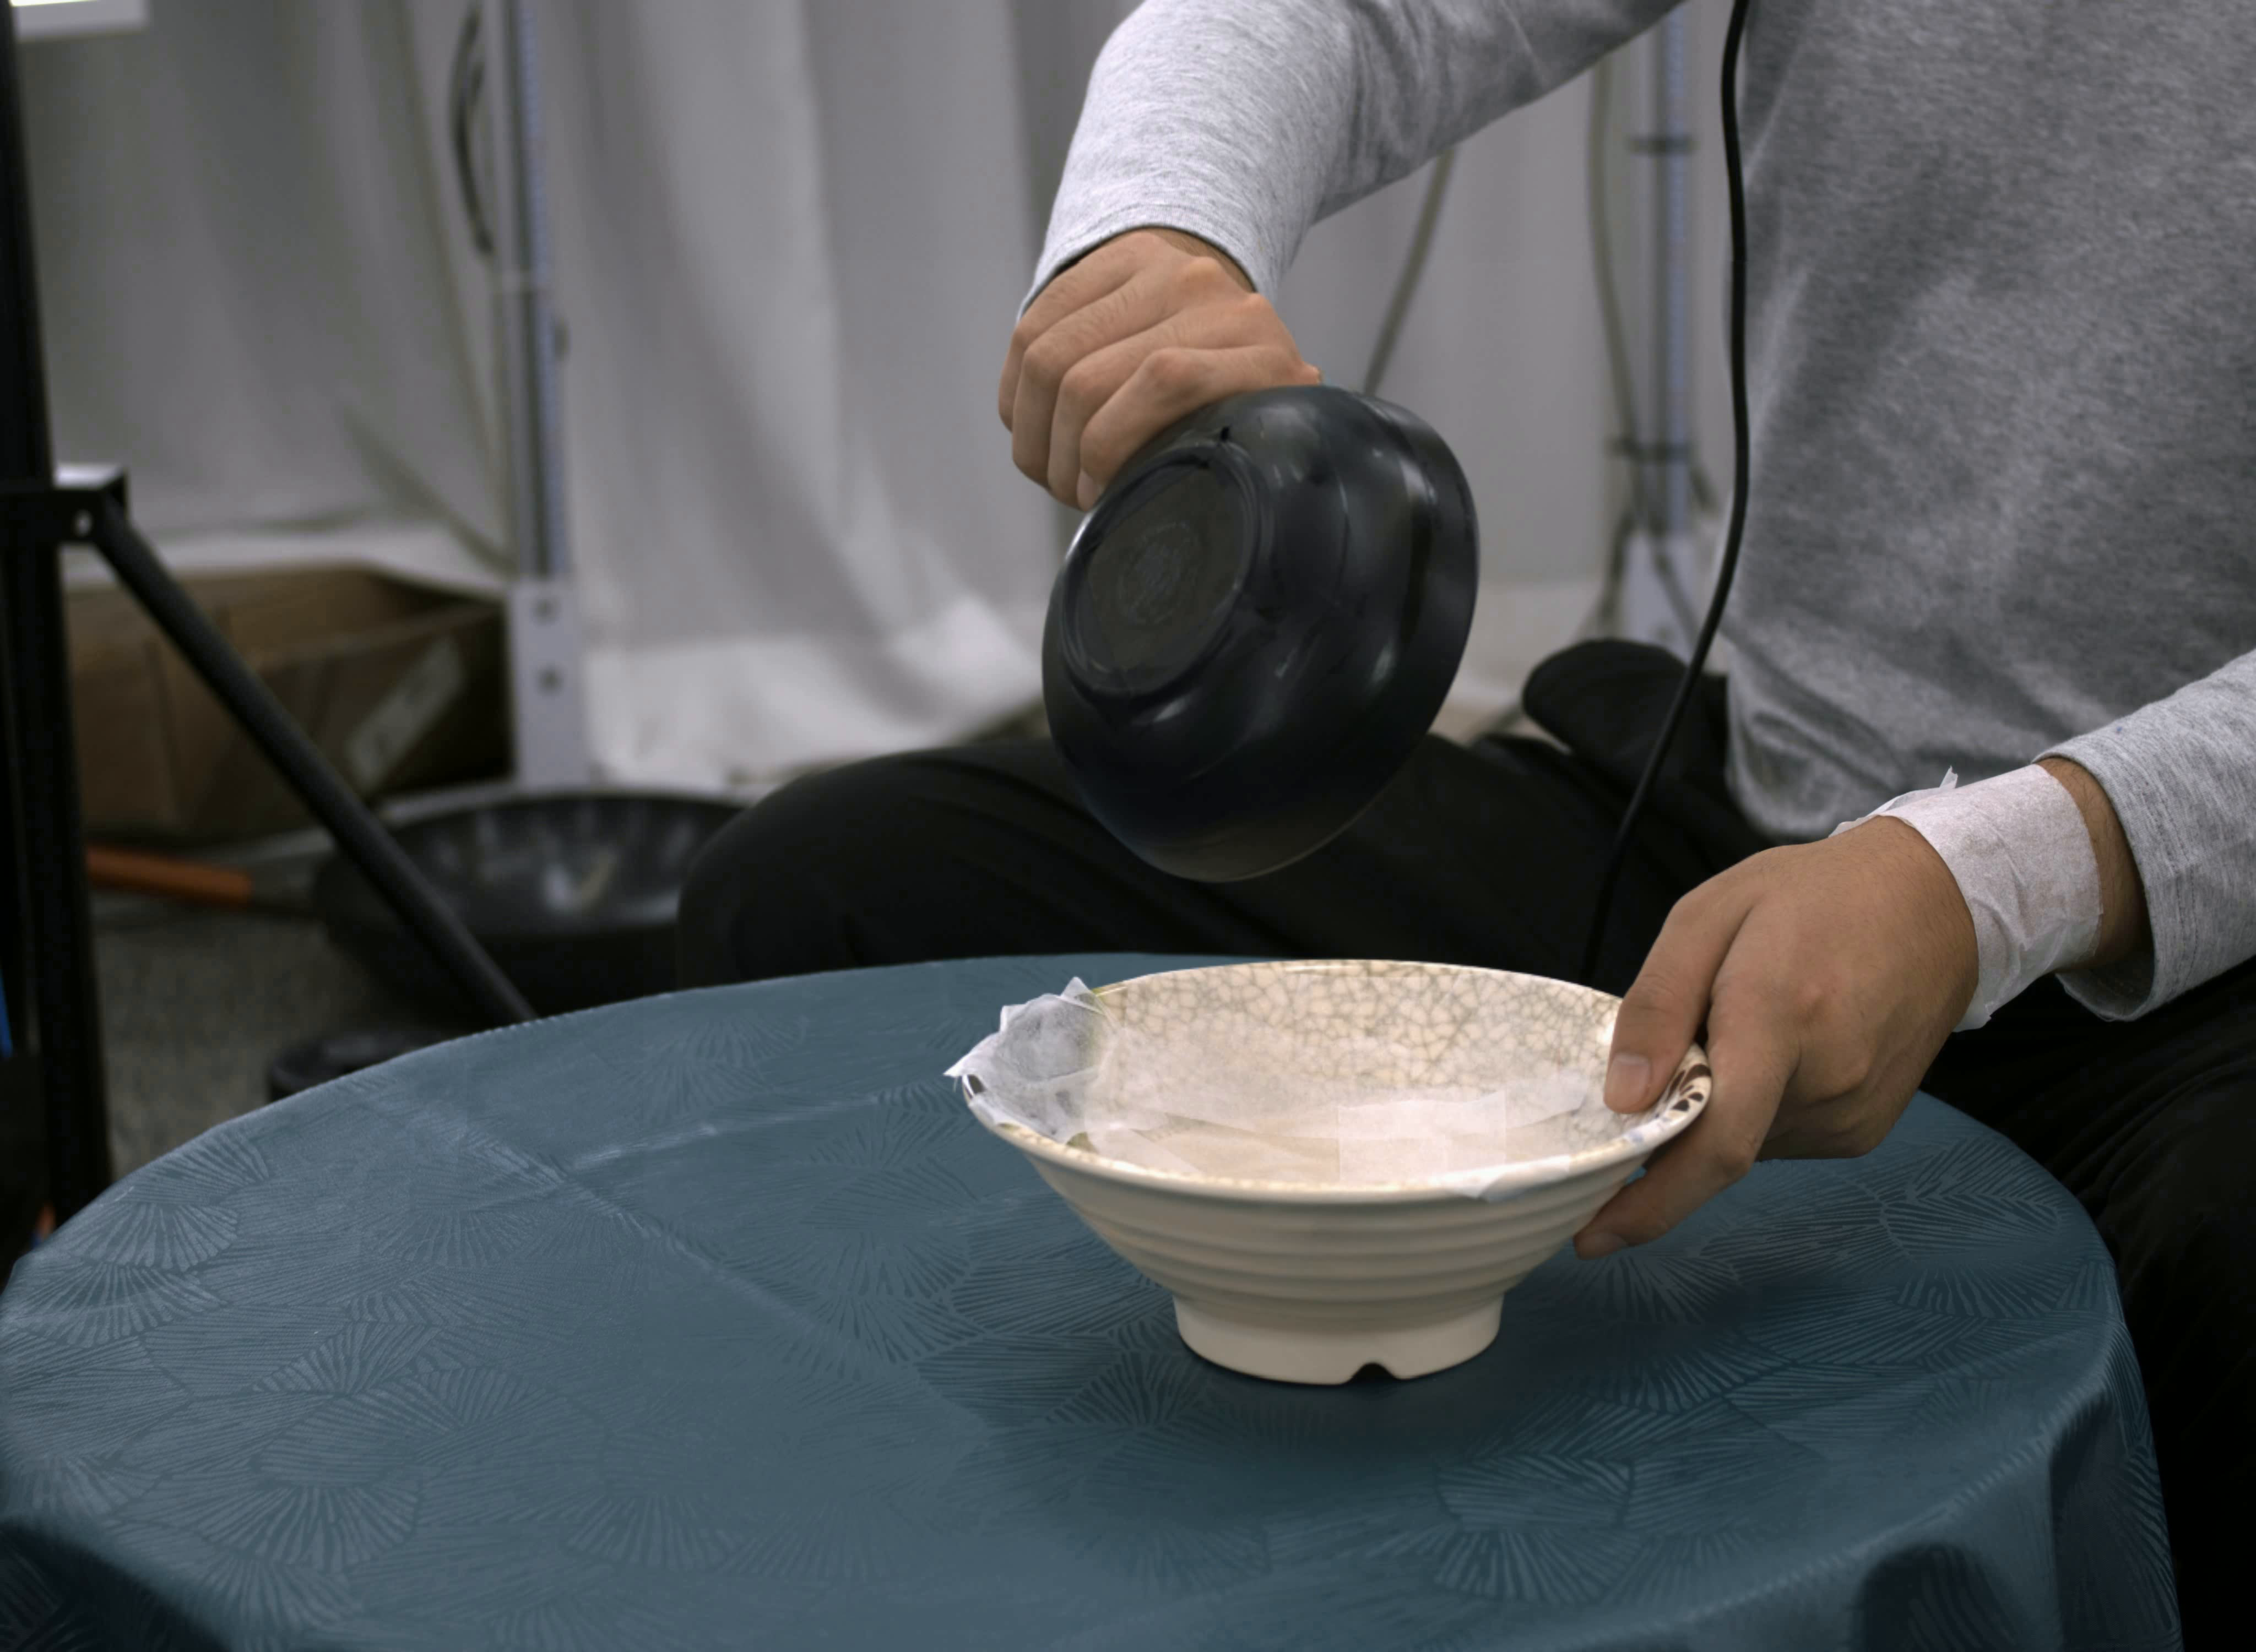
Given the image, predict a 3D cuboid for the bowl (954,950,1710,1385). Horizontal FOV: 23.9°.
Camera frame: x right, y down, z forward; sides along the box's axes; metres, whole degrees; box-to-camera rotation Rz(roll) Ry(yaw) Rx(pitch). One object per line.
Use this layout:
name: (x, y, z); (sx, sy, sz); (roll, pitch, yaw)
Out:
bowl: (0.055, 0.100, 1.436); (0.203, 0.078, 0.205); (-1, 15, -1)

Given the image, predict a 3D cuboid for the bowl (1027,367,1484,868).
bowl: (0.023, -0.062, 1.384); (0.143, 0.140, 0.048); (15, -12, 46)
